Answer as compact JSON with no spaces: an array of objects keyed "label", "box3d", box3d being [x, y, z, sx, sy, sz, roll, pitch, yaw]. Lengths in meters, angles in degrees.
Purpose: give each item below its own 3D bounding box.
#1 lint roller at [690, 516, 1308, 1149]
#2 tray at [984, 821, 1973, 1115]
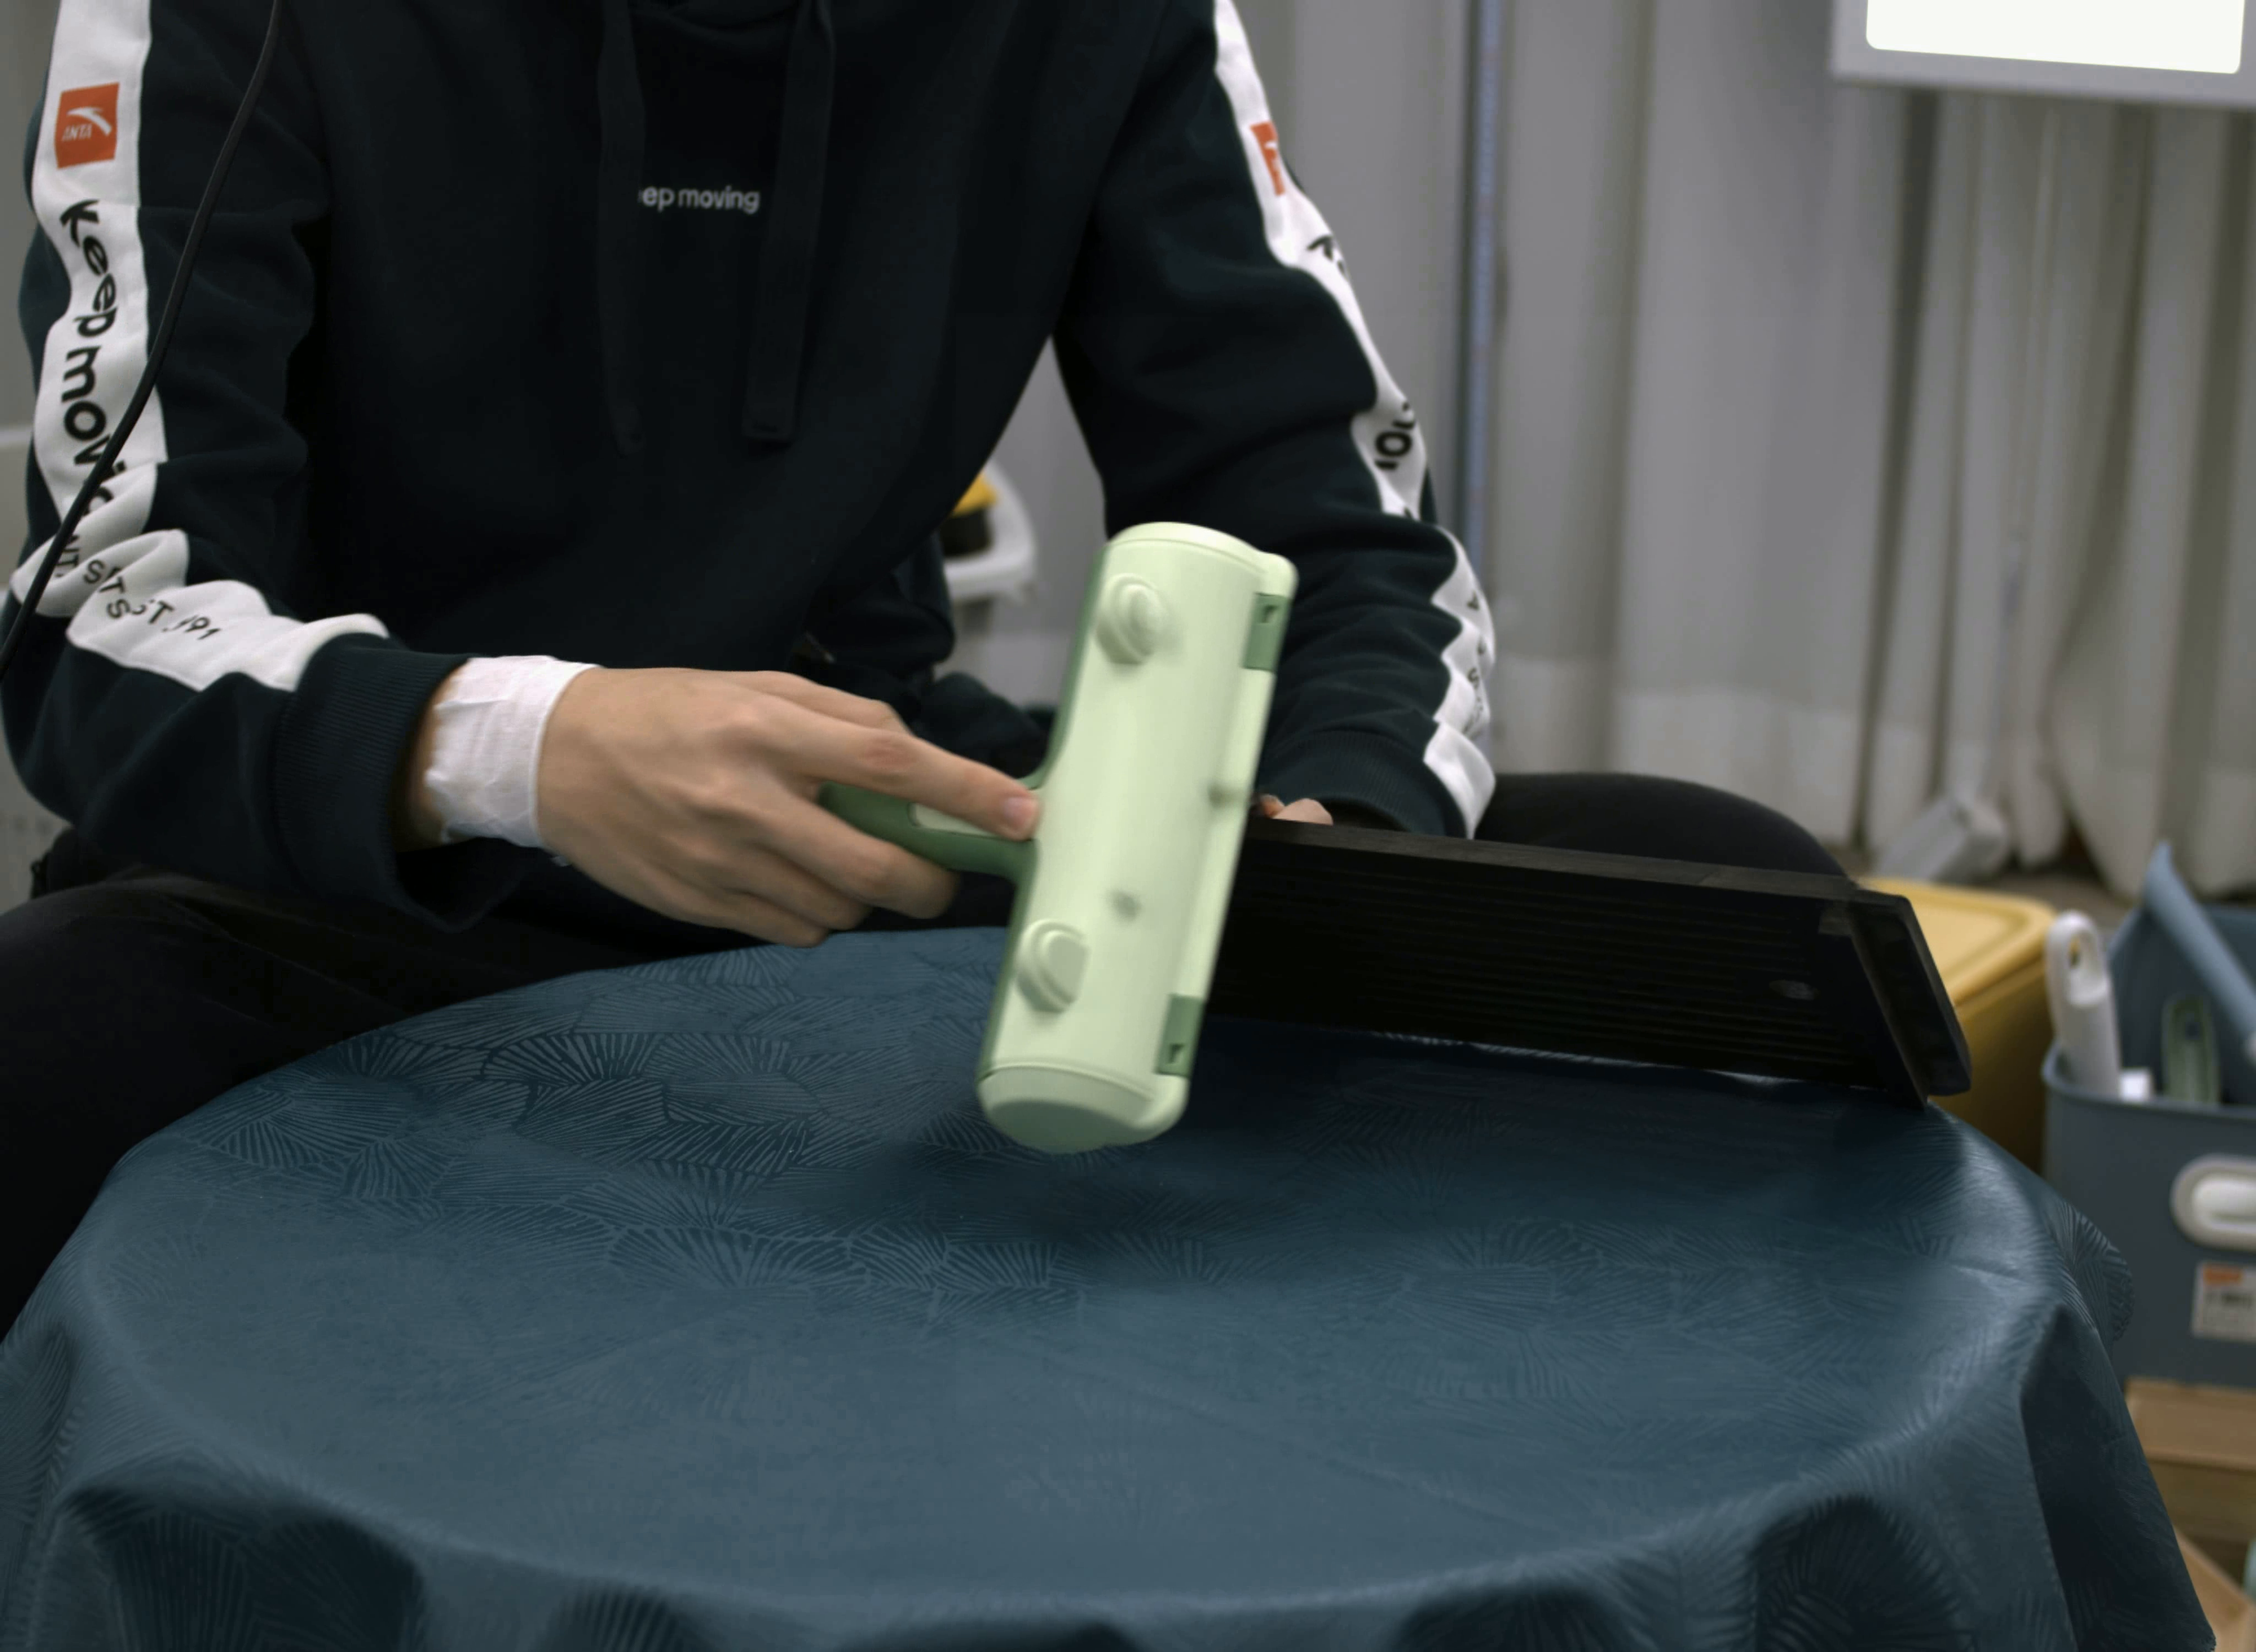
[{"label":"lint roller","box3d":[-0.051,-0.009,1.600,0.182,0.198,0.083,9,-23,10]},{"label":"tray","box3d":[0.109,0.043,1.679,0.303,0.018,0.172,5,-21,18]}]
